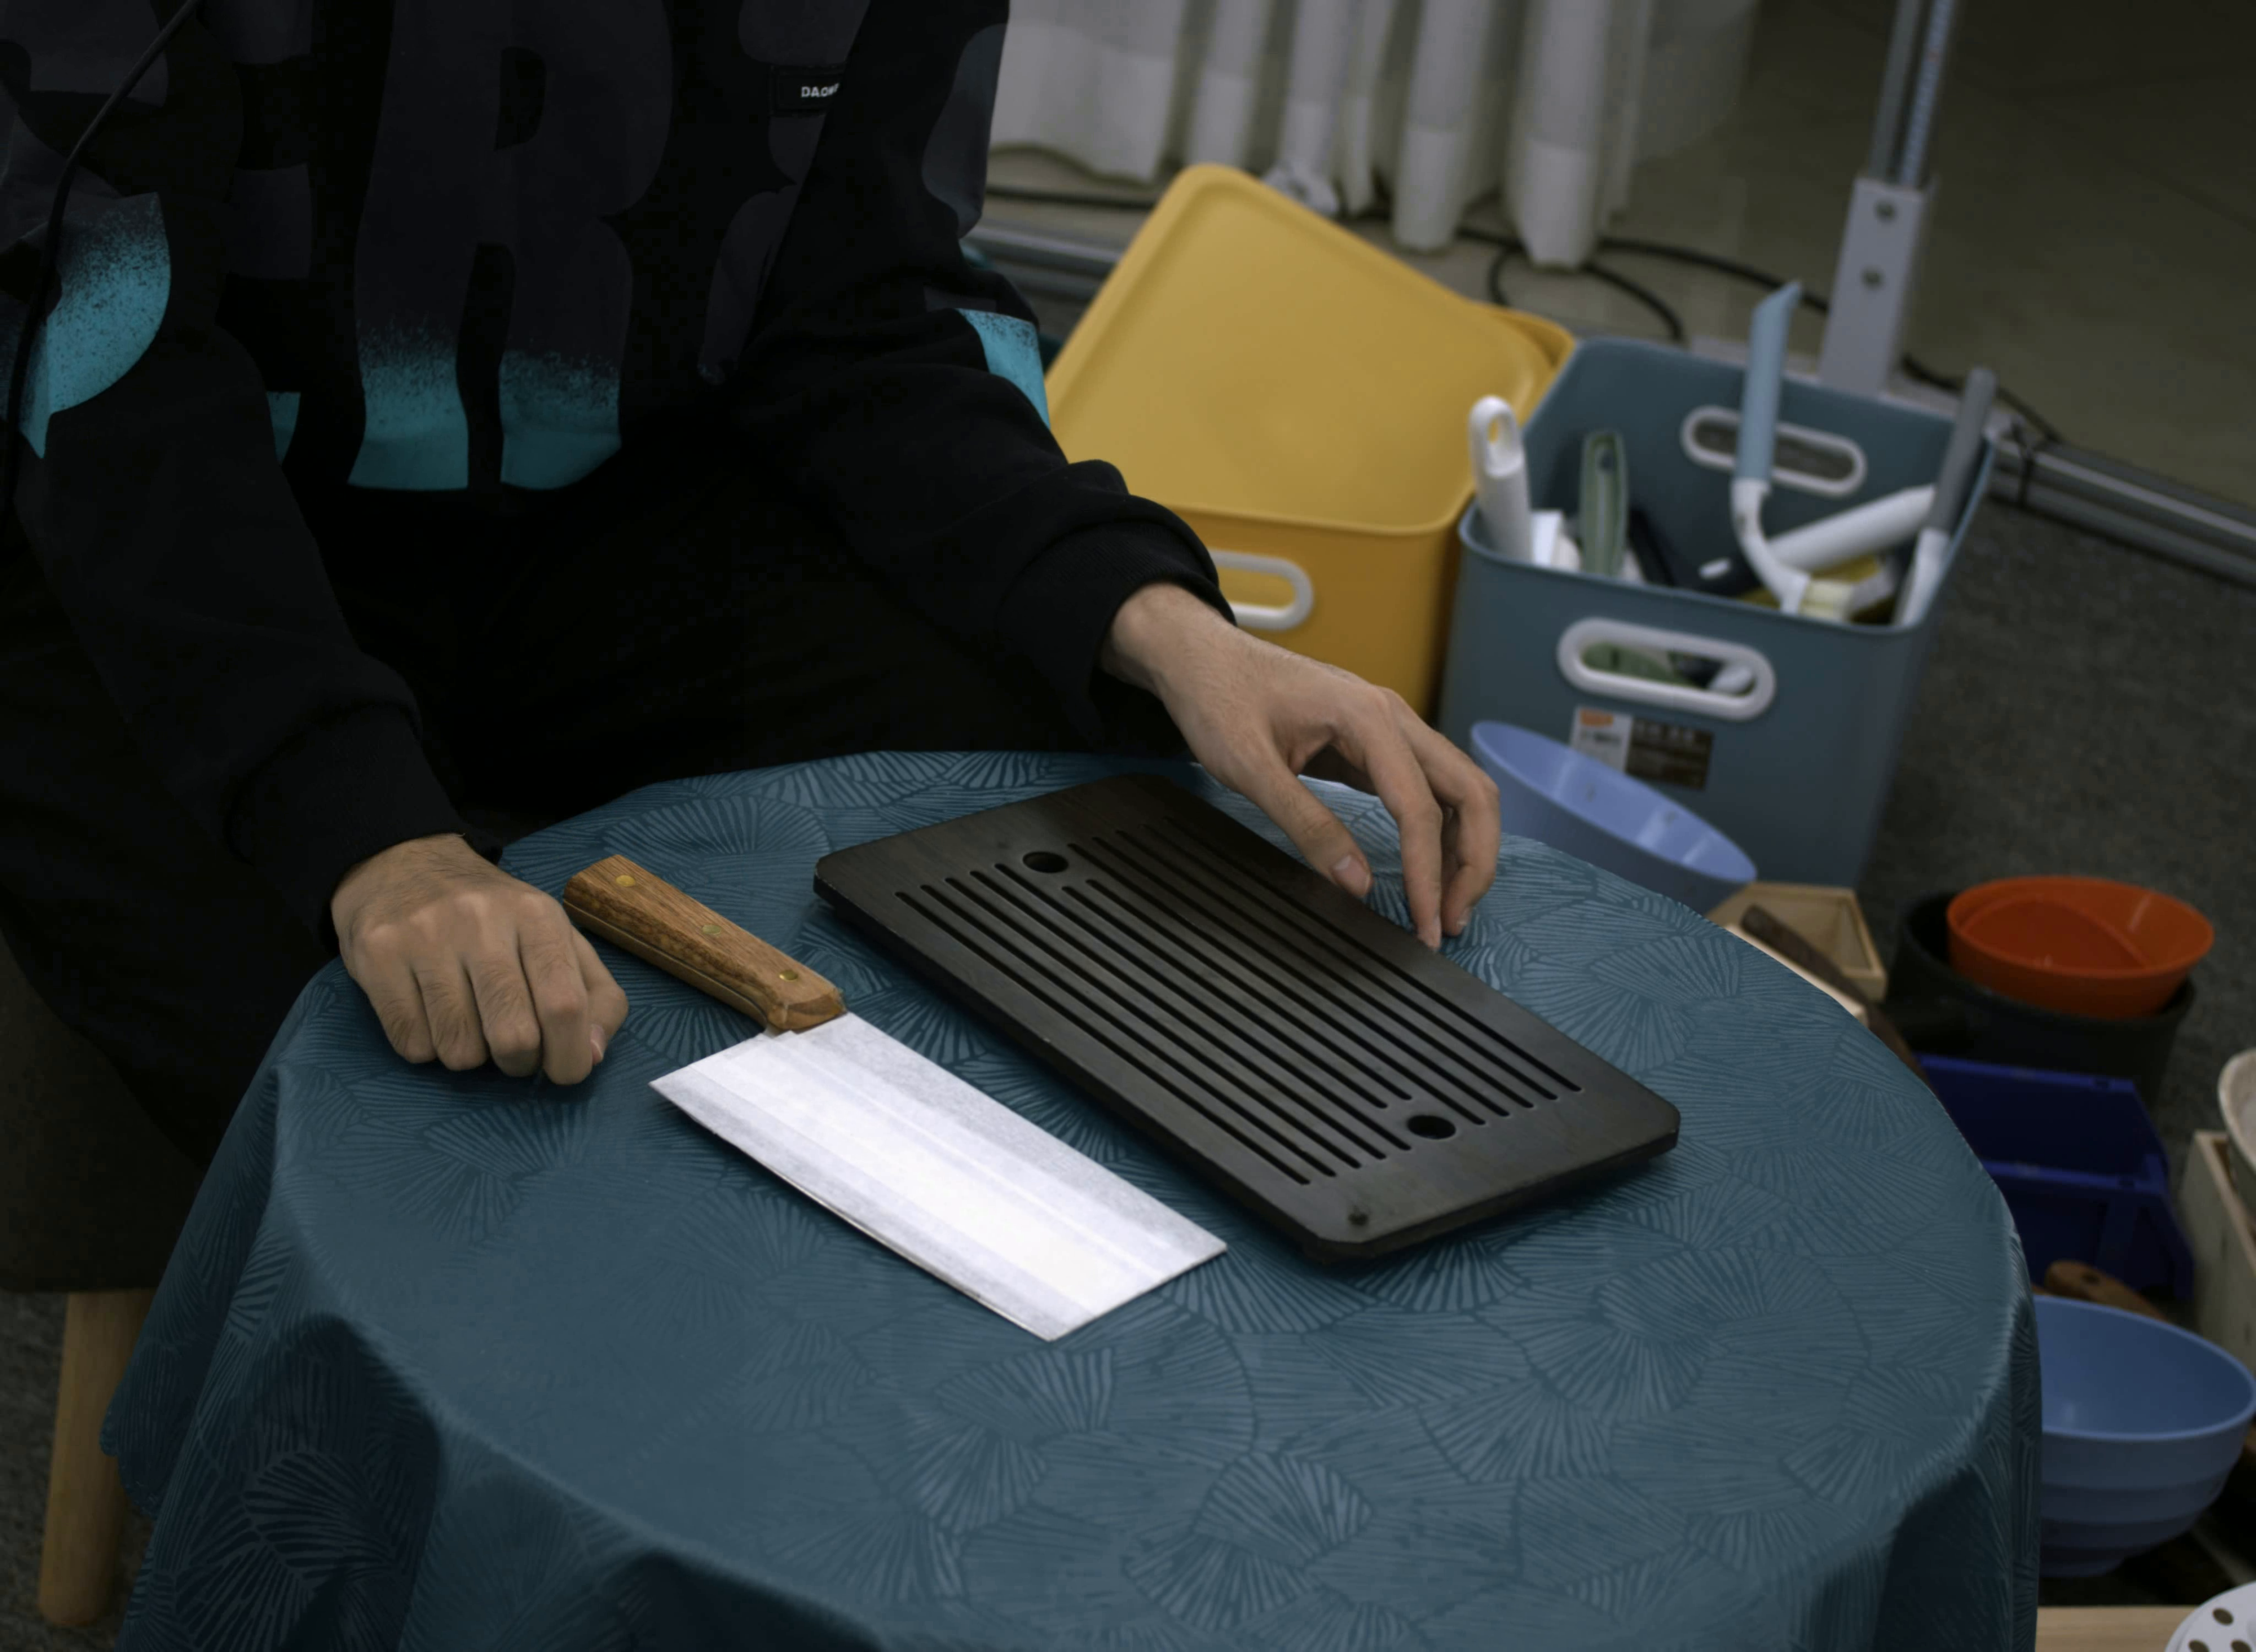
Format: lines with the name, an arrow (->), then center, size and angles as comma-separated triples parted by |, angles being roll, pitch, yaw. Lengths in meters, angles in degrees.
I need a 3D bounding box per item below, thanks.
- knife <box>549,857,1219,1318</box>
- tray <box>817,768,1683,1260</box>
knife -> -0.106, 0.090, 1.828 | 0.308, 0.021, 0.092 | 29, 36, 34
tray -> 0.039, 0.064, 1.908 | 0.169, 0.018, 0.308 | -15, 34, -36
